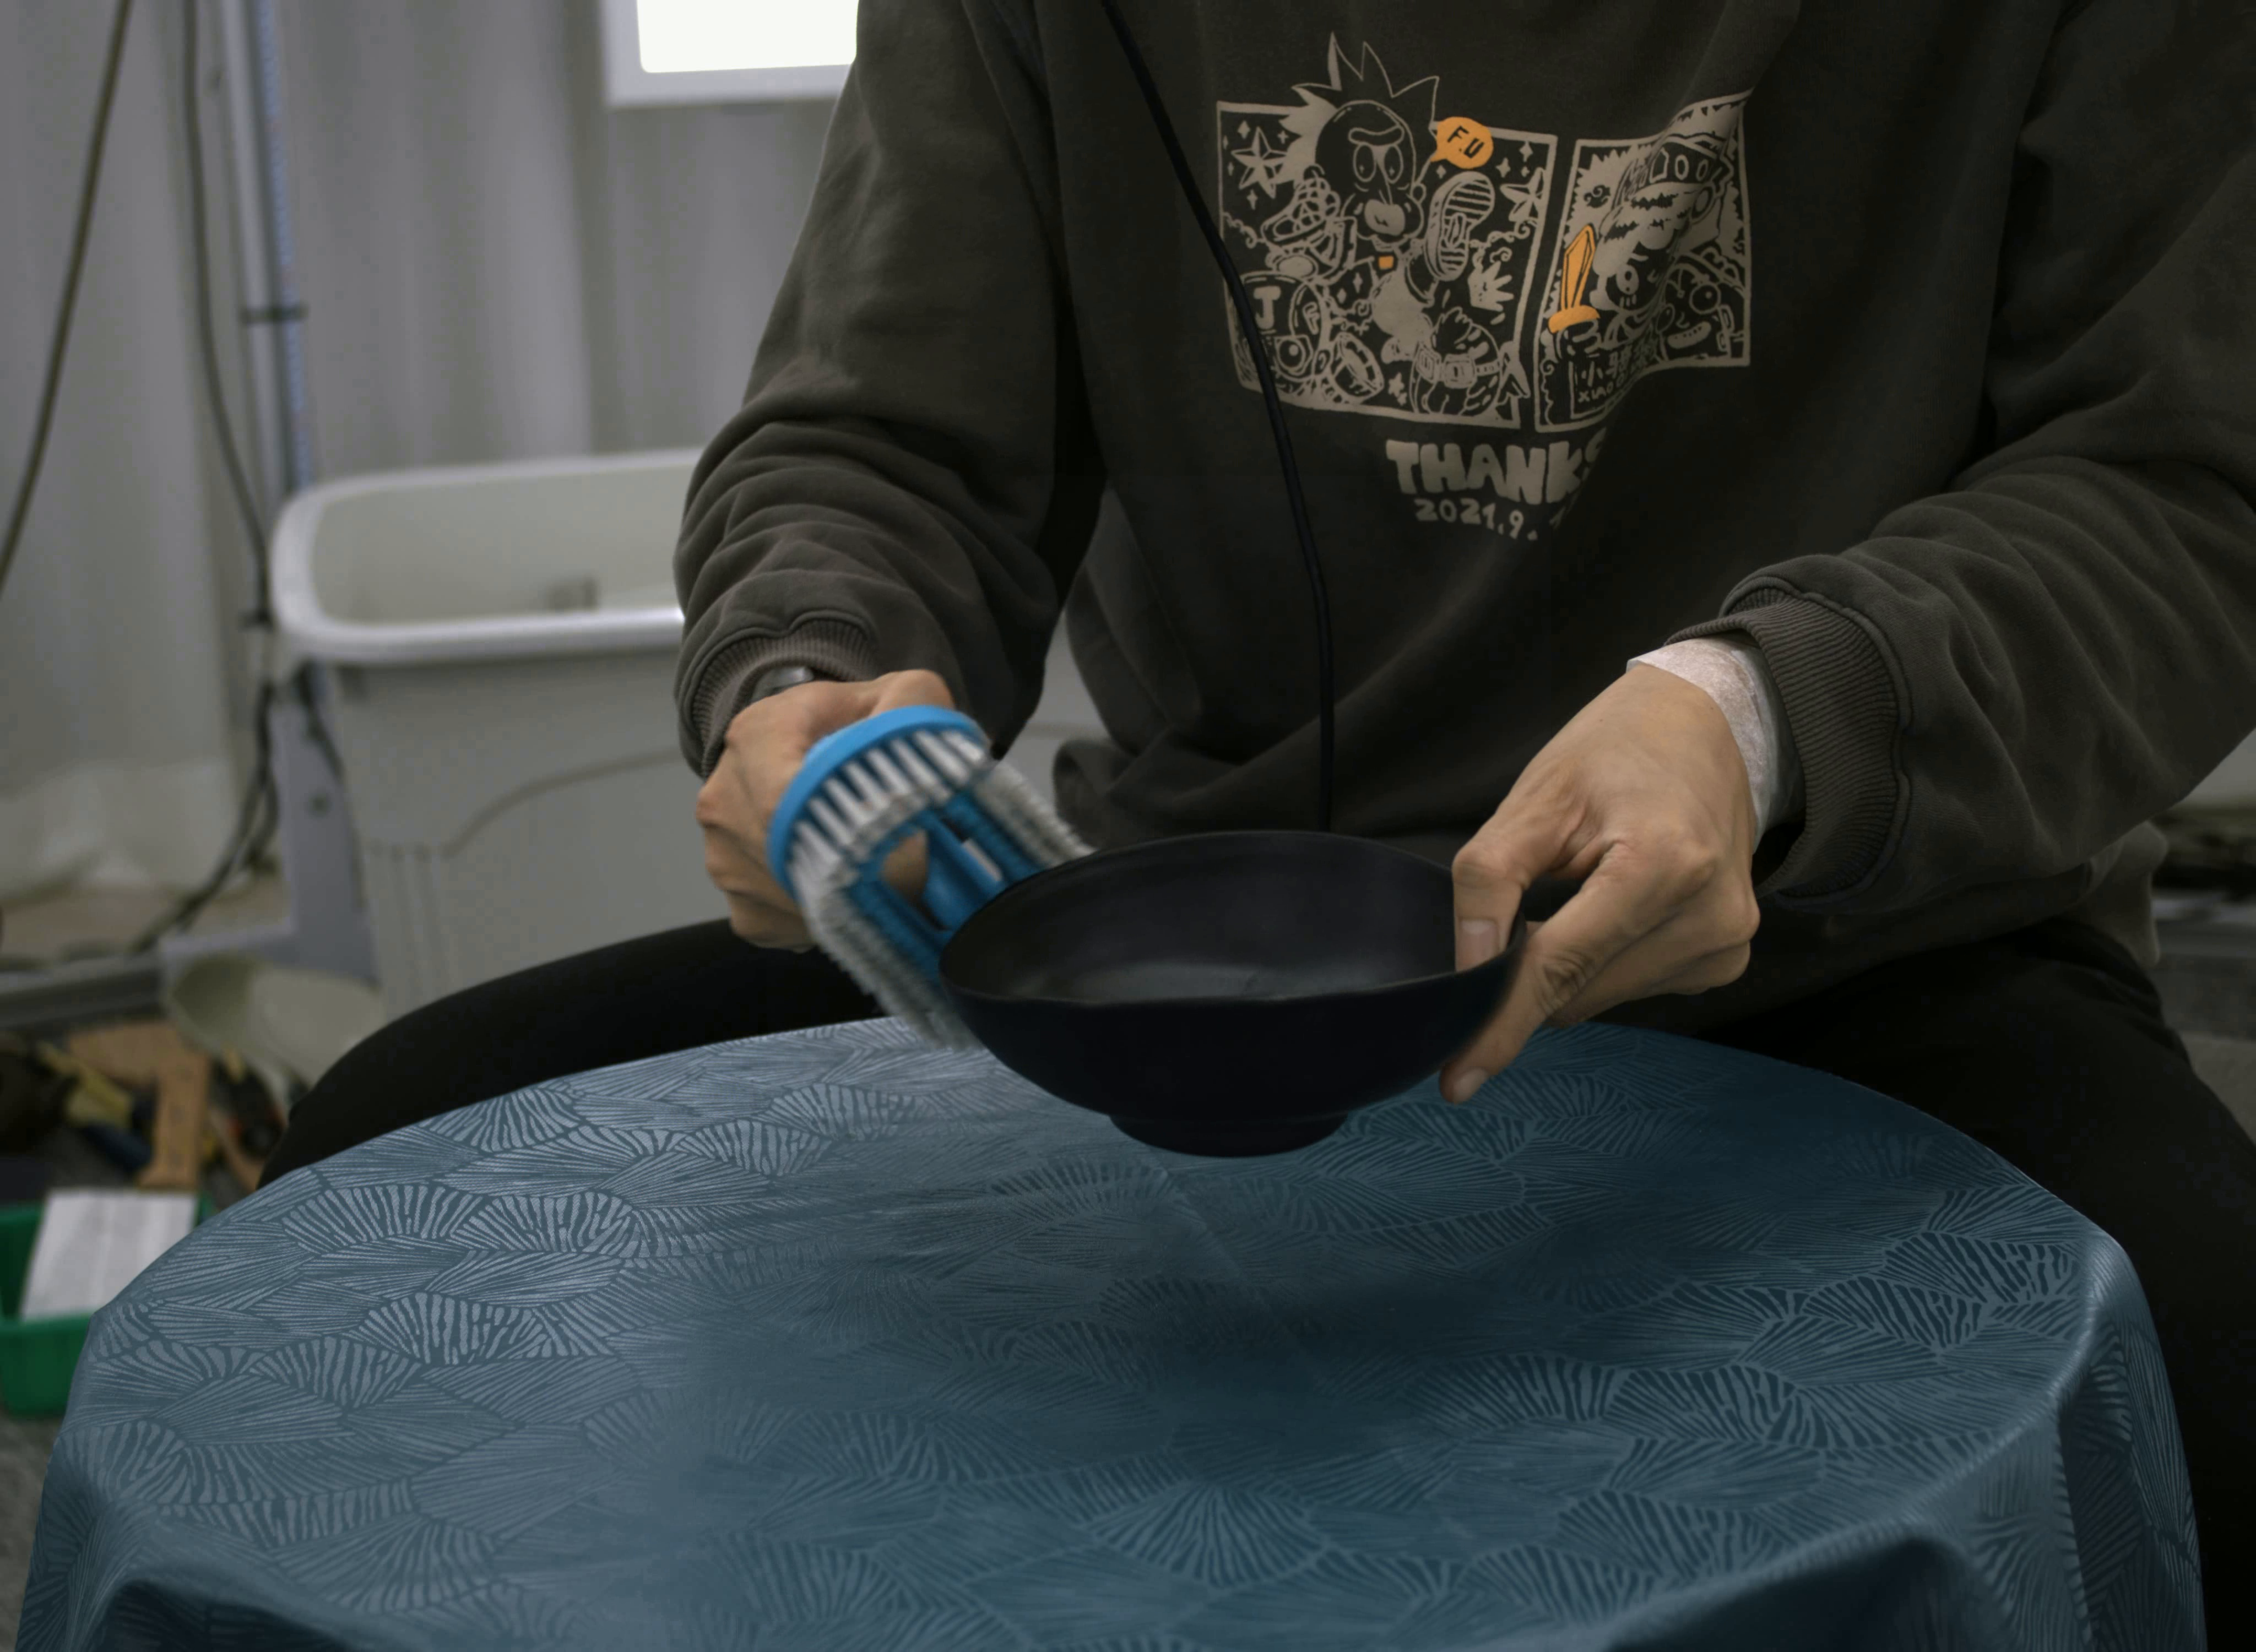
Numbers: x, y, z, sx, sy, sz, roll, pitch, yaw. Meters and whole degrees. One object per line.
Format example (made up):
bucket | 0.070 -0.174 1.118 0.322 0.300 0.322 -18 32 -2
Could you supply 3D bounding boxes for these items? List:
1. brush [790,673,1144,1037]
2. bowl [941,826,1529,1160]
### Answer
brush | -0.057 0.003 1.627 0.064 0.084 0.140 41 -2 35
bowl | 0.031 0.055 1.578 0.169 0.066 0.138 -4 20 -7
